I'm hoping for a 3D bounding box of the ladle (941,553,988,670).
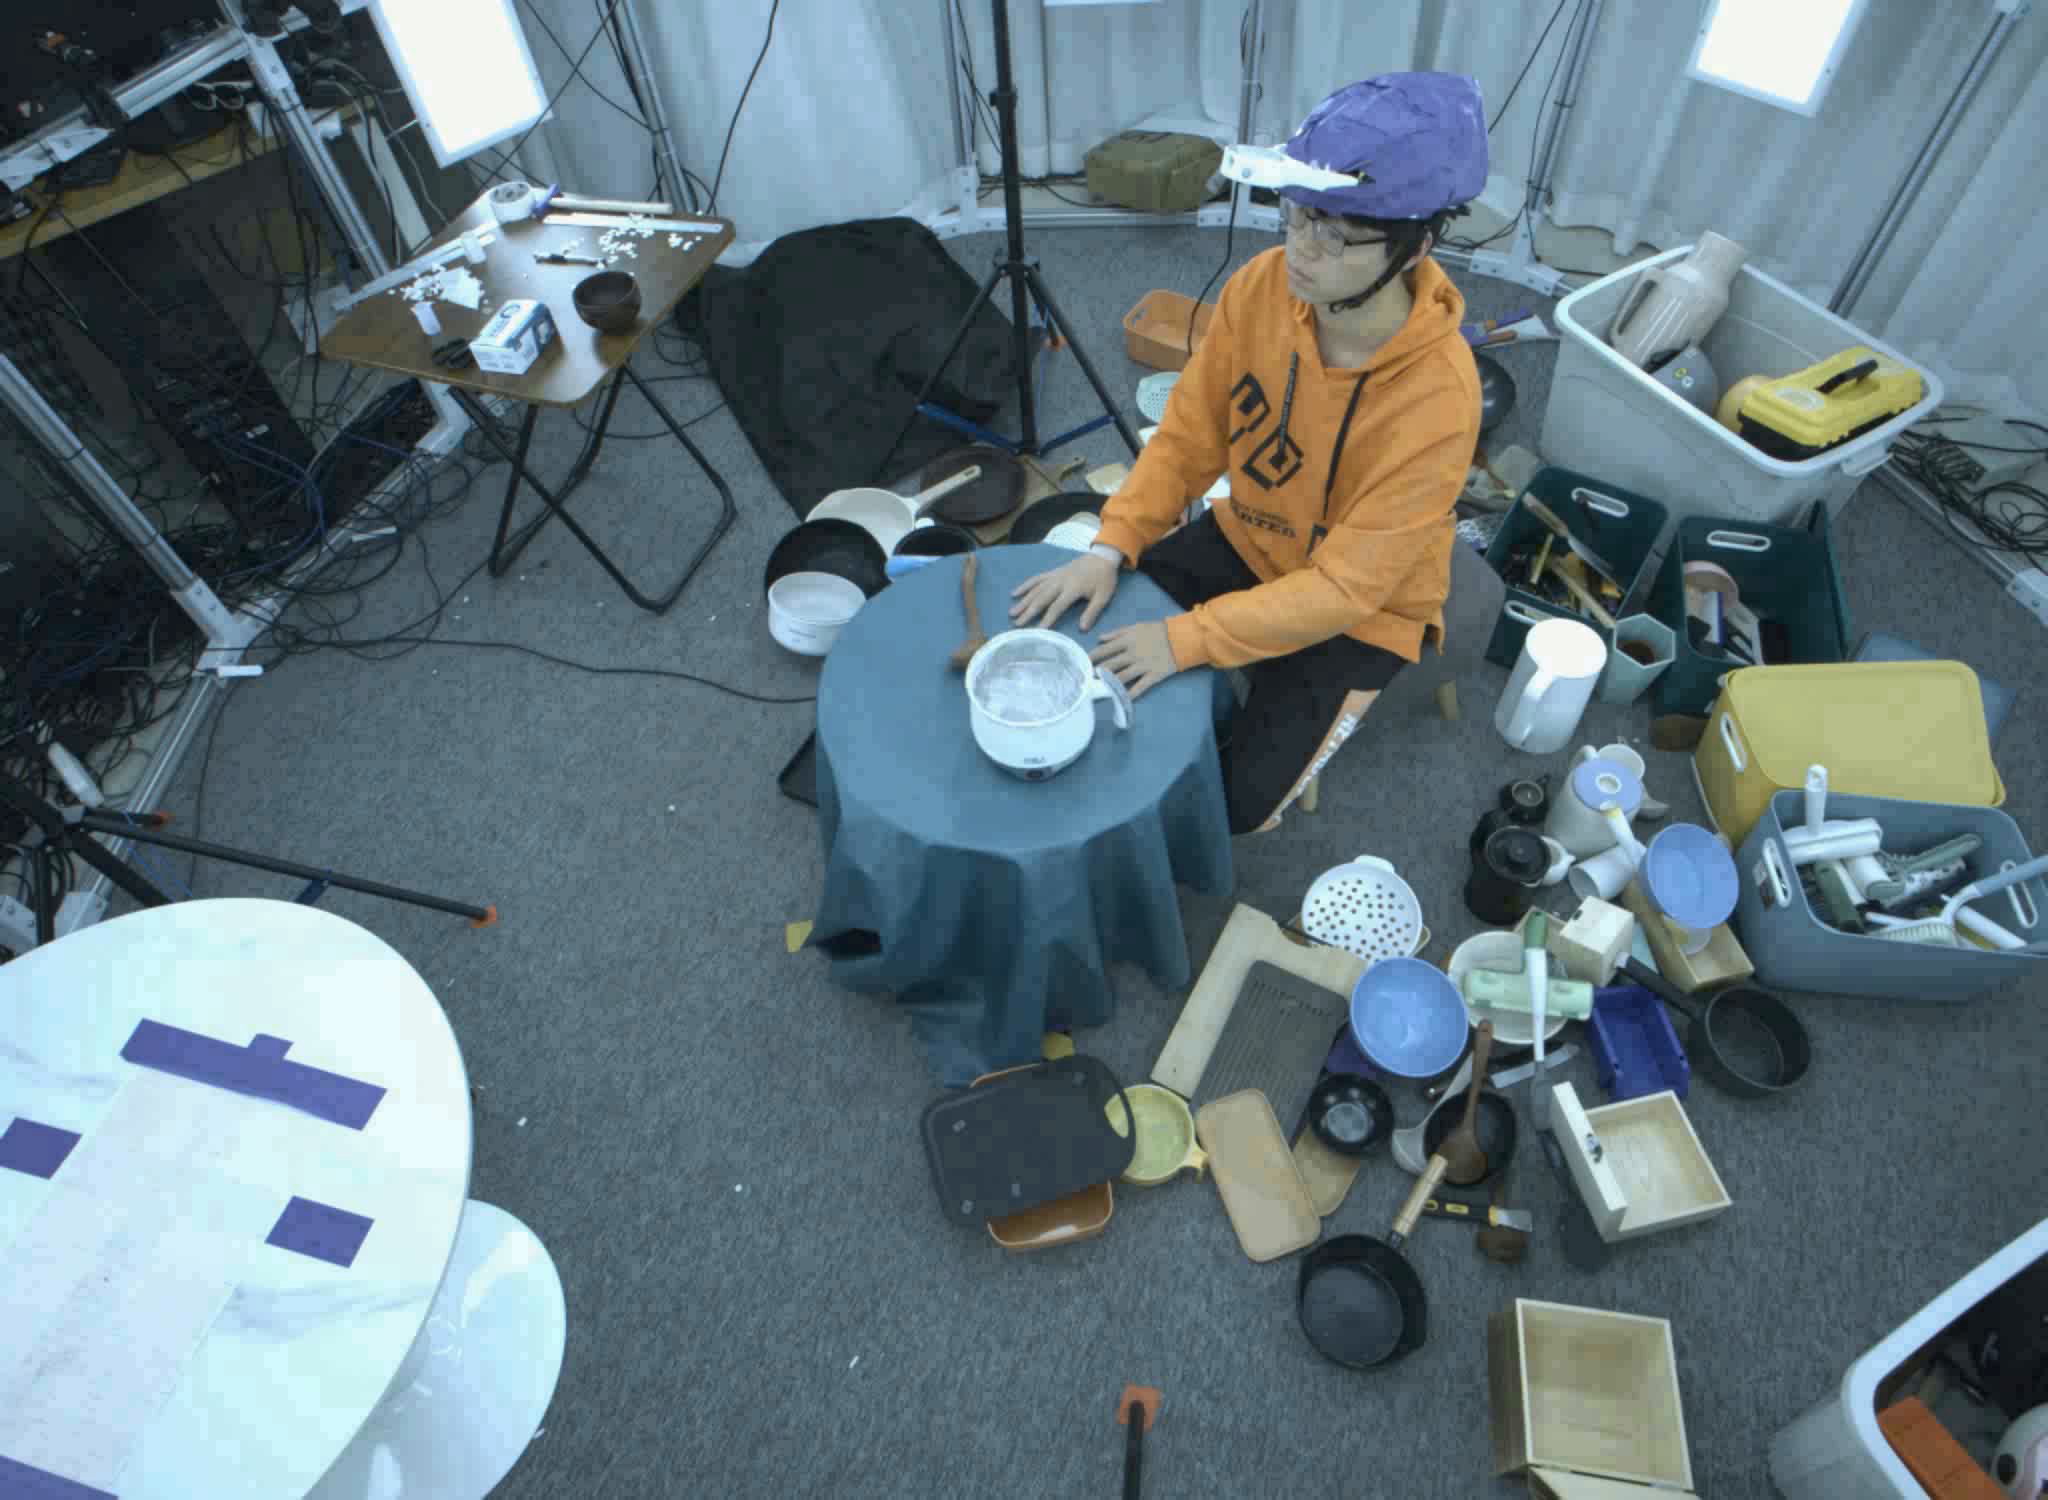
[{"bbox_3d":[-0.092,-0.227,1.914,0.075,0.066,0.257,-19,53,21],"label":"ladle"}]

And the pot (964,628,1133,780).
[{"bbox_3d":[0.038,-0.067,1.748,0.234,0.138,0.176,-4,55,0],"label":"pot"}]
